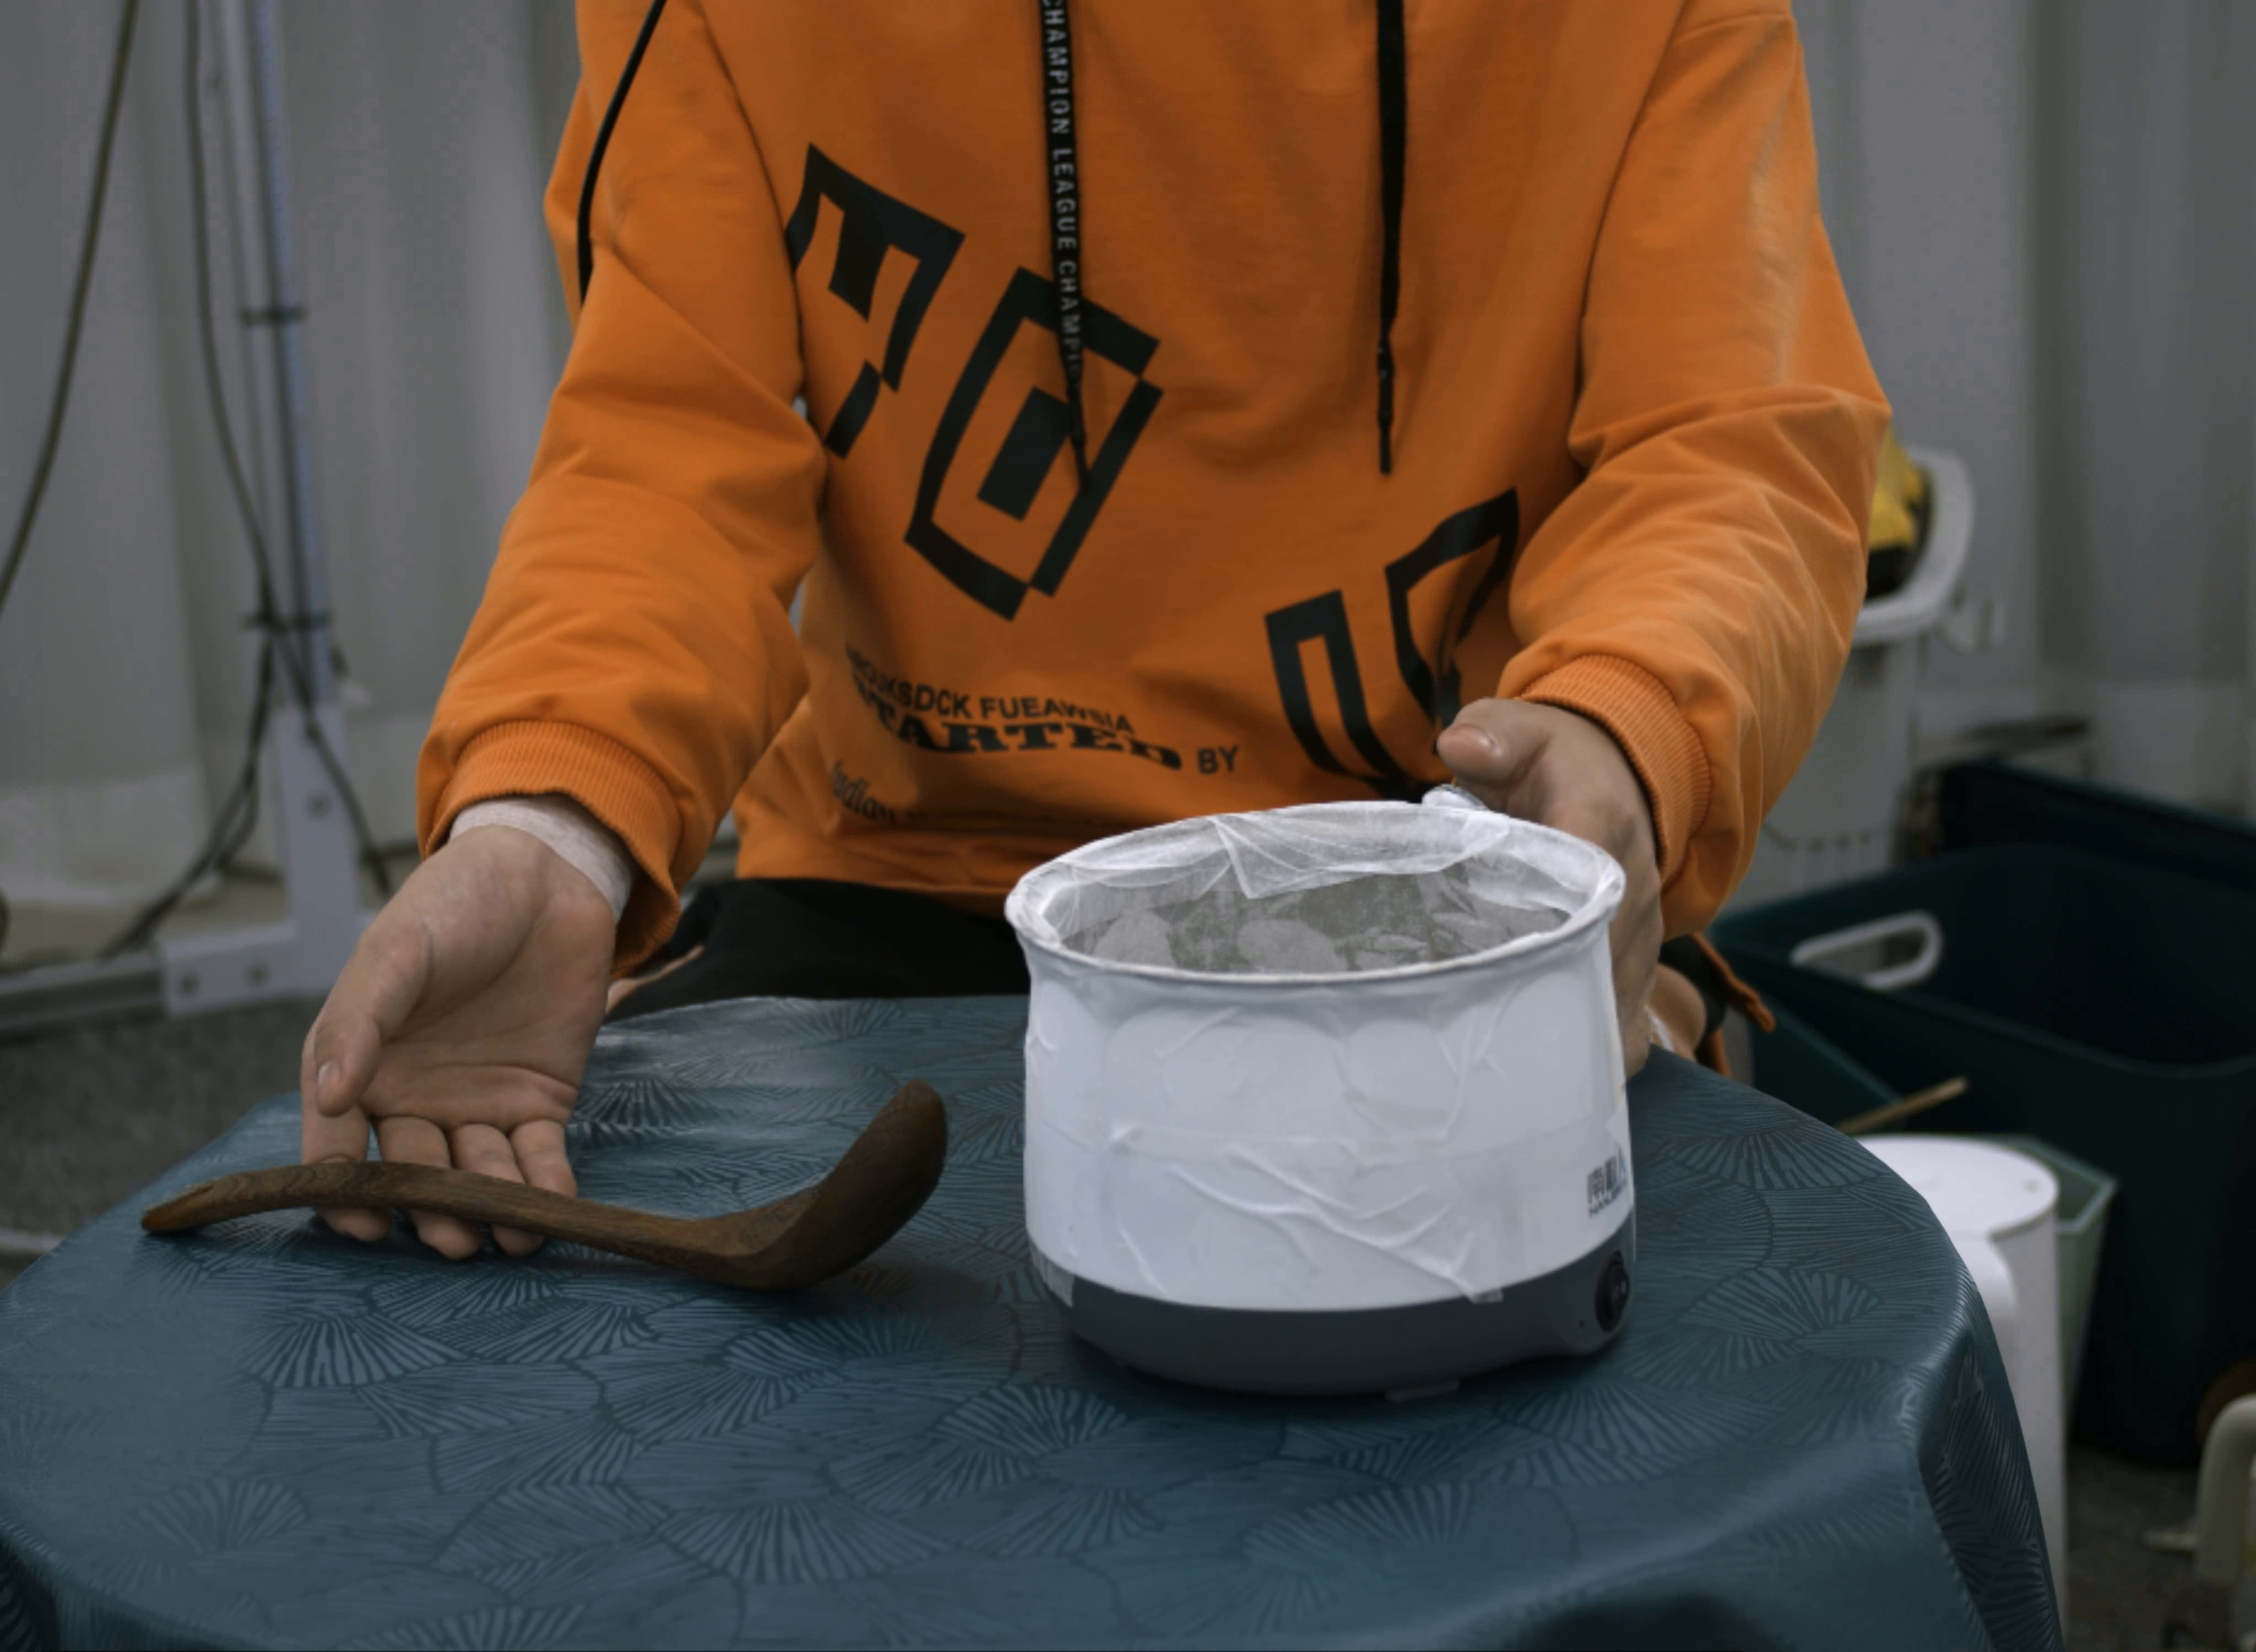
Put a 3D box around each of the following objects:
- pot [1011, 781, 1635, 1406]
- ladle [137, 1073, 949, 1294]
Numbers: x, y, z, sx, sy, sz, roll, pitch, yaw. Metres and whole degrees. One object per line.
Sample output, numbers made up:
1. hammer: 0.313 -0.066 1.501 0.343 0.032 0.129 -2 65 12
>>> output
1. pot: 0.068 0.071 1.599 0.179 0.136 0.234 4 17 24
2. ladle: -0.183 0.100 1.670 0.274 0.071 0.076 4 16 22
